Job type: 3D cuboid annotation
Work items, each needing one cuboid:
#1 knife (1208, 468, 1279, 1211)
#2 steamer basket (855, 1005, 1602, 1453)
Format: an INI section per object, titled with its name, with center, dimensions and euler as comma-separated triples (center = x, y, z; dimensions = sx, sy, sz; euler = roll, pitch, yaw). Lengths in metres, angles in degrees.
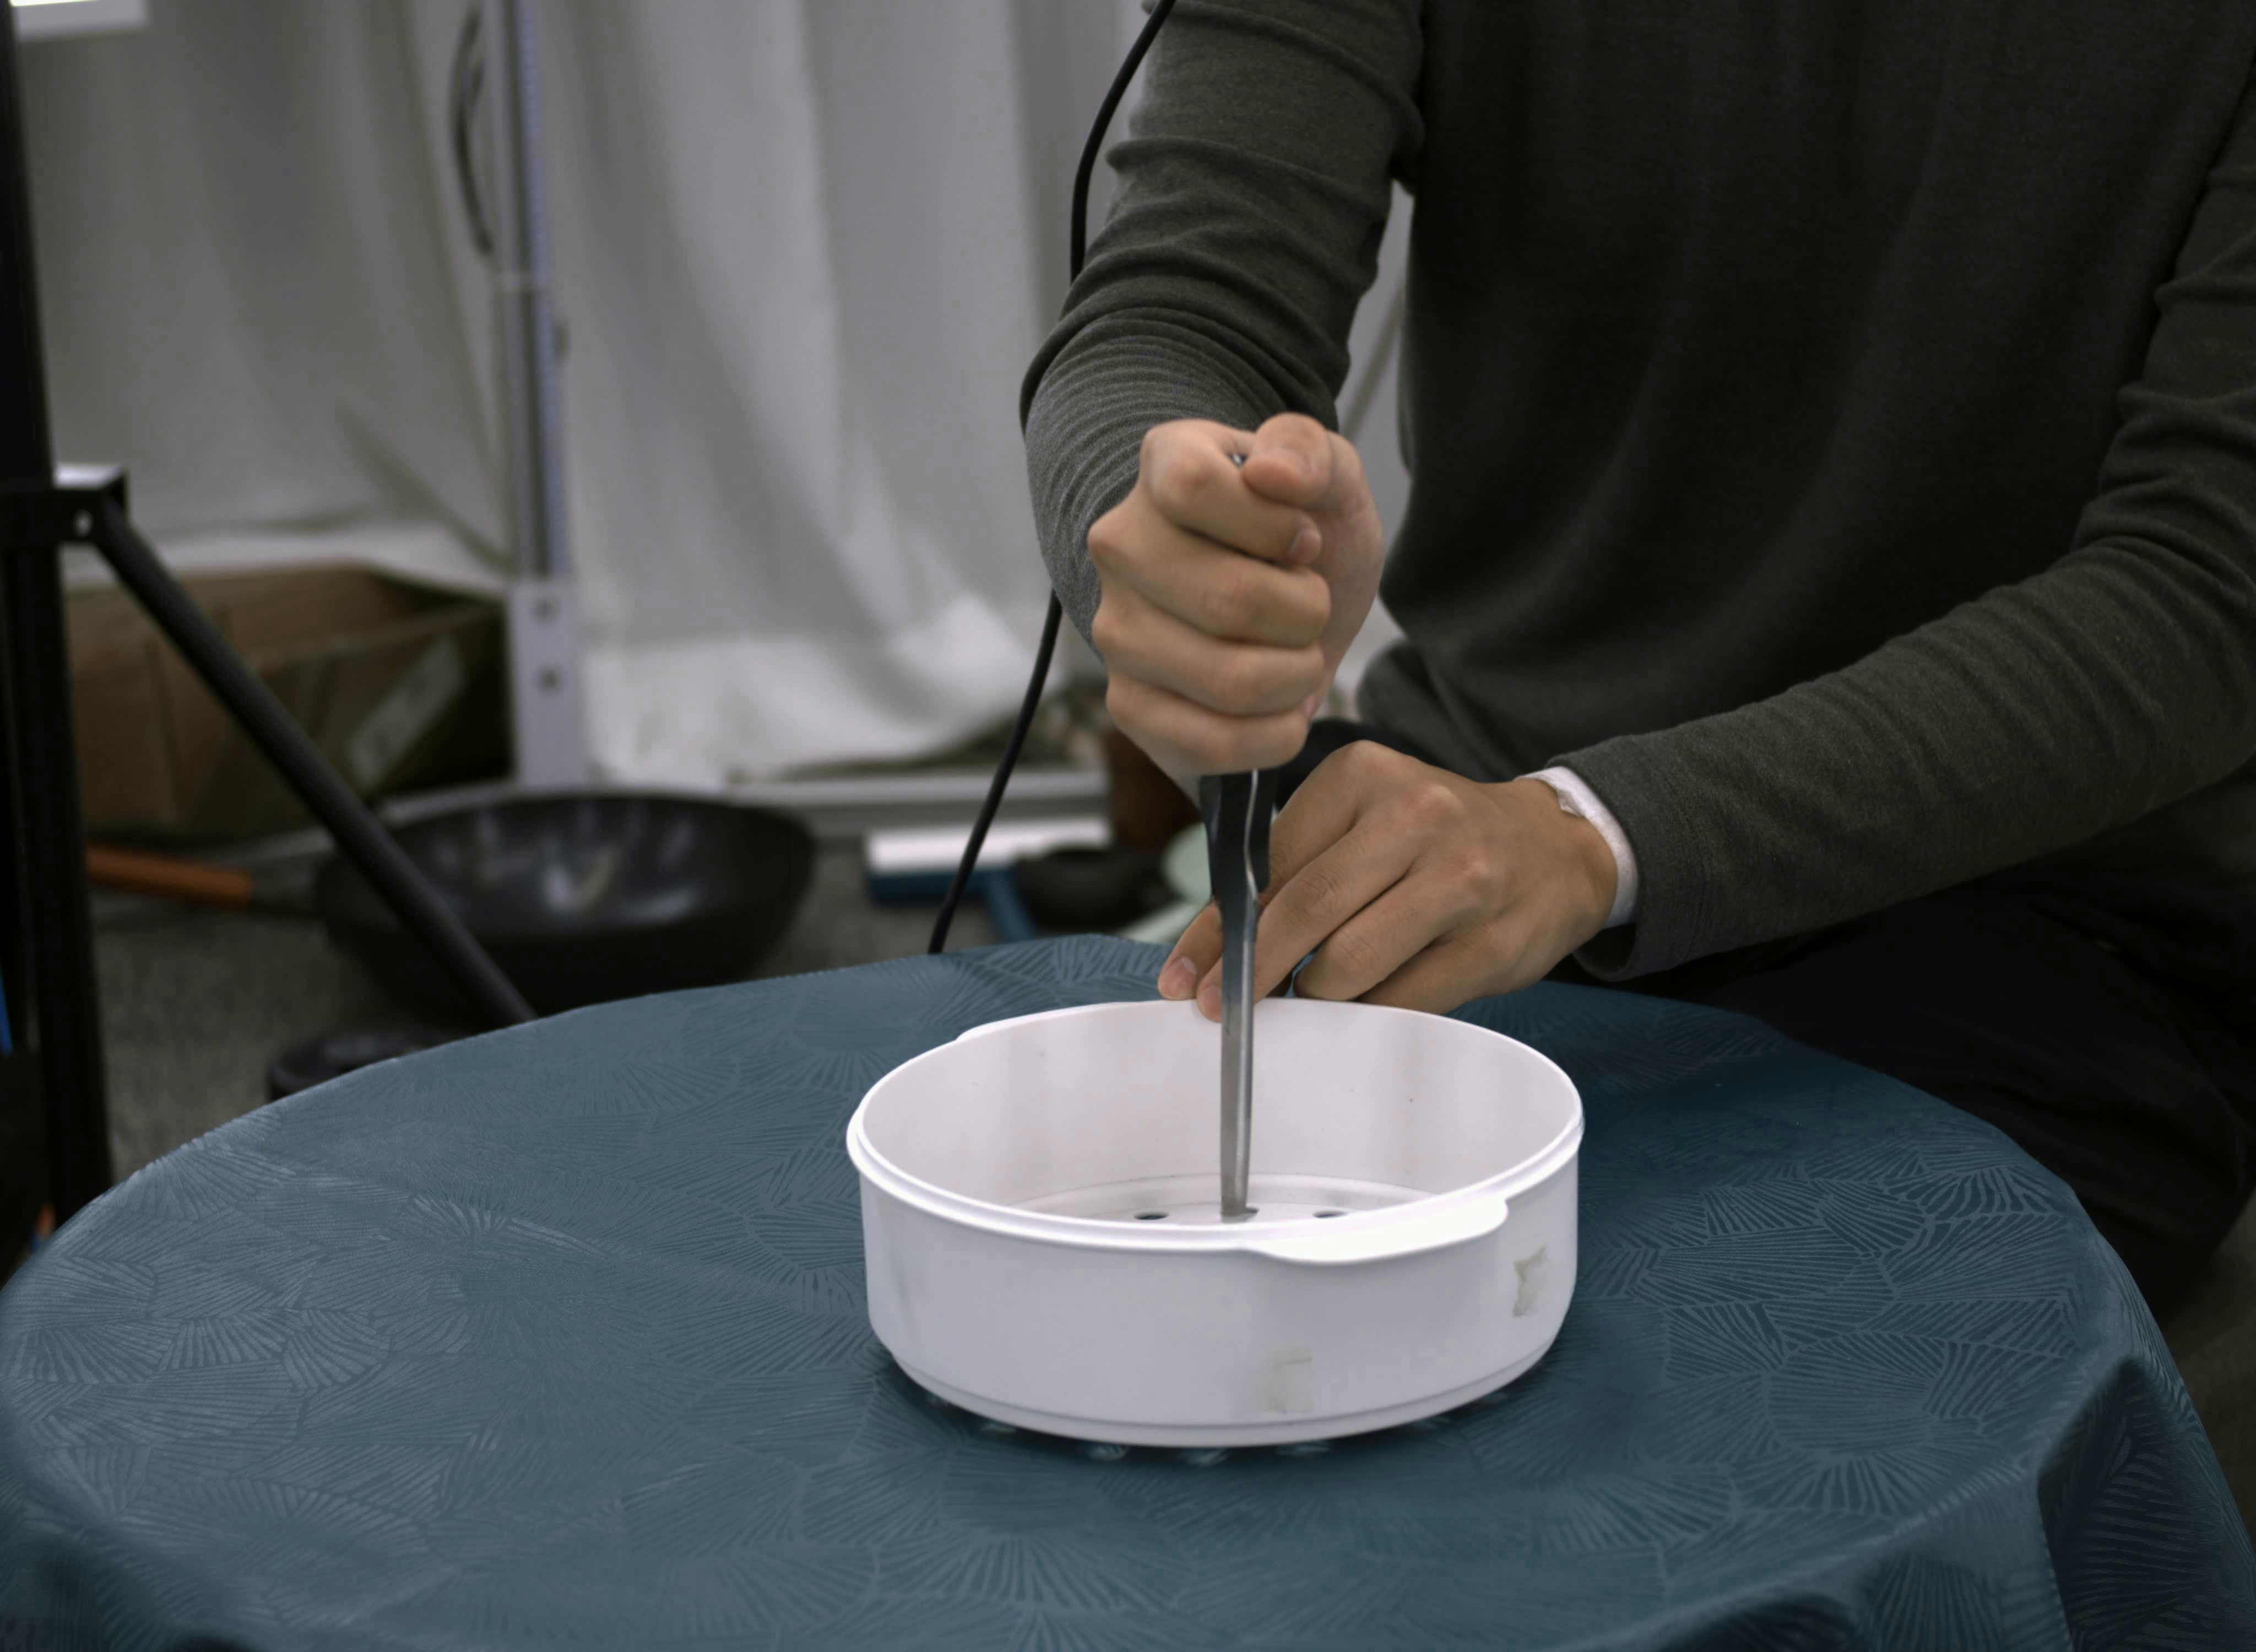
[knife]
center = 0.030, 0.021, 1.382
dimensions = 0.016, 0.238, 0.025
euler = -5, 19, -13
[steamer basket]
center = 0.028, 0.108, 1.433
dimensions = 0.198, 0.069, 0.235
euler = -8, 16, -22
